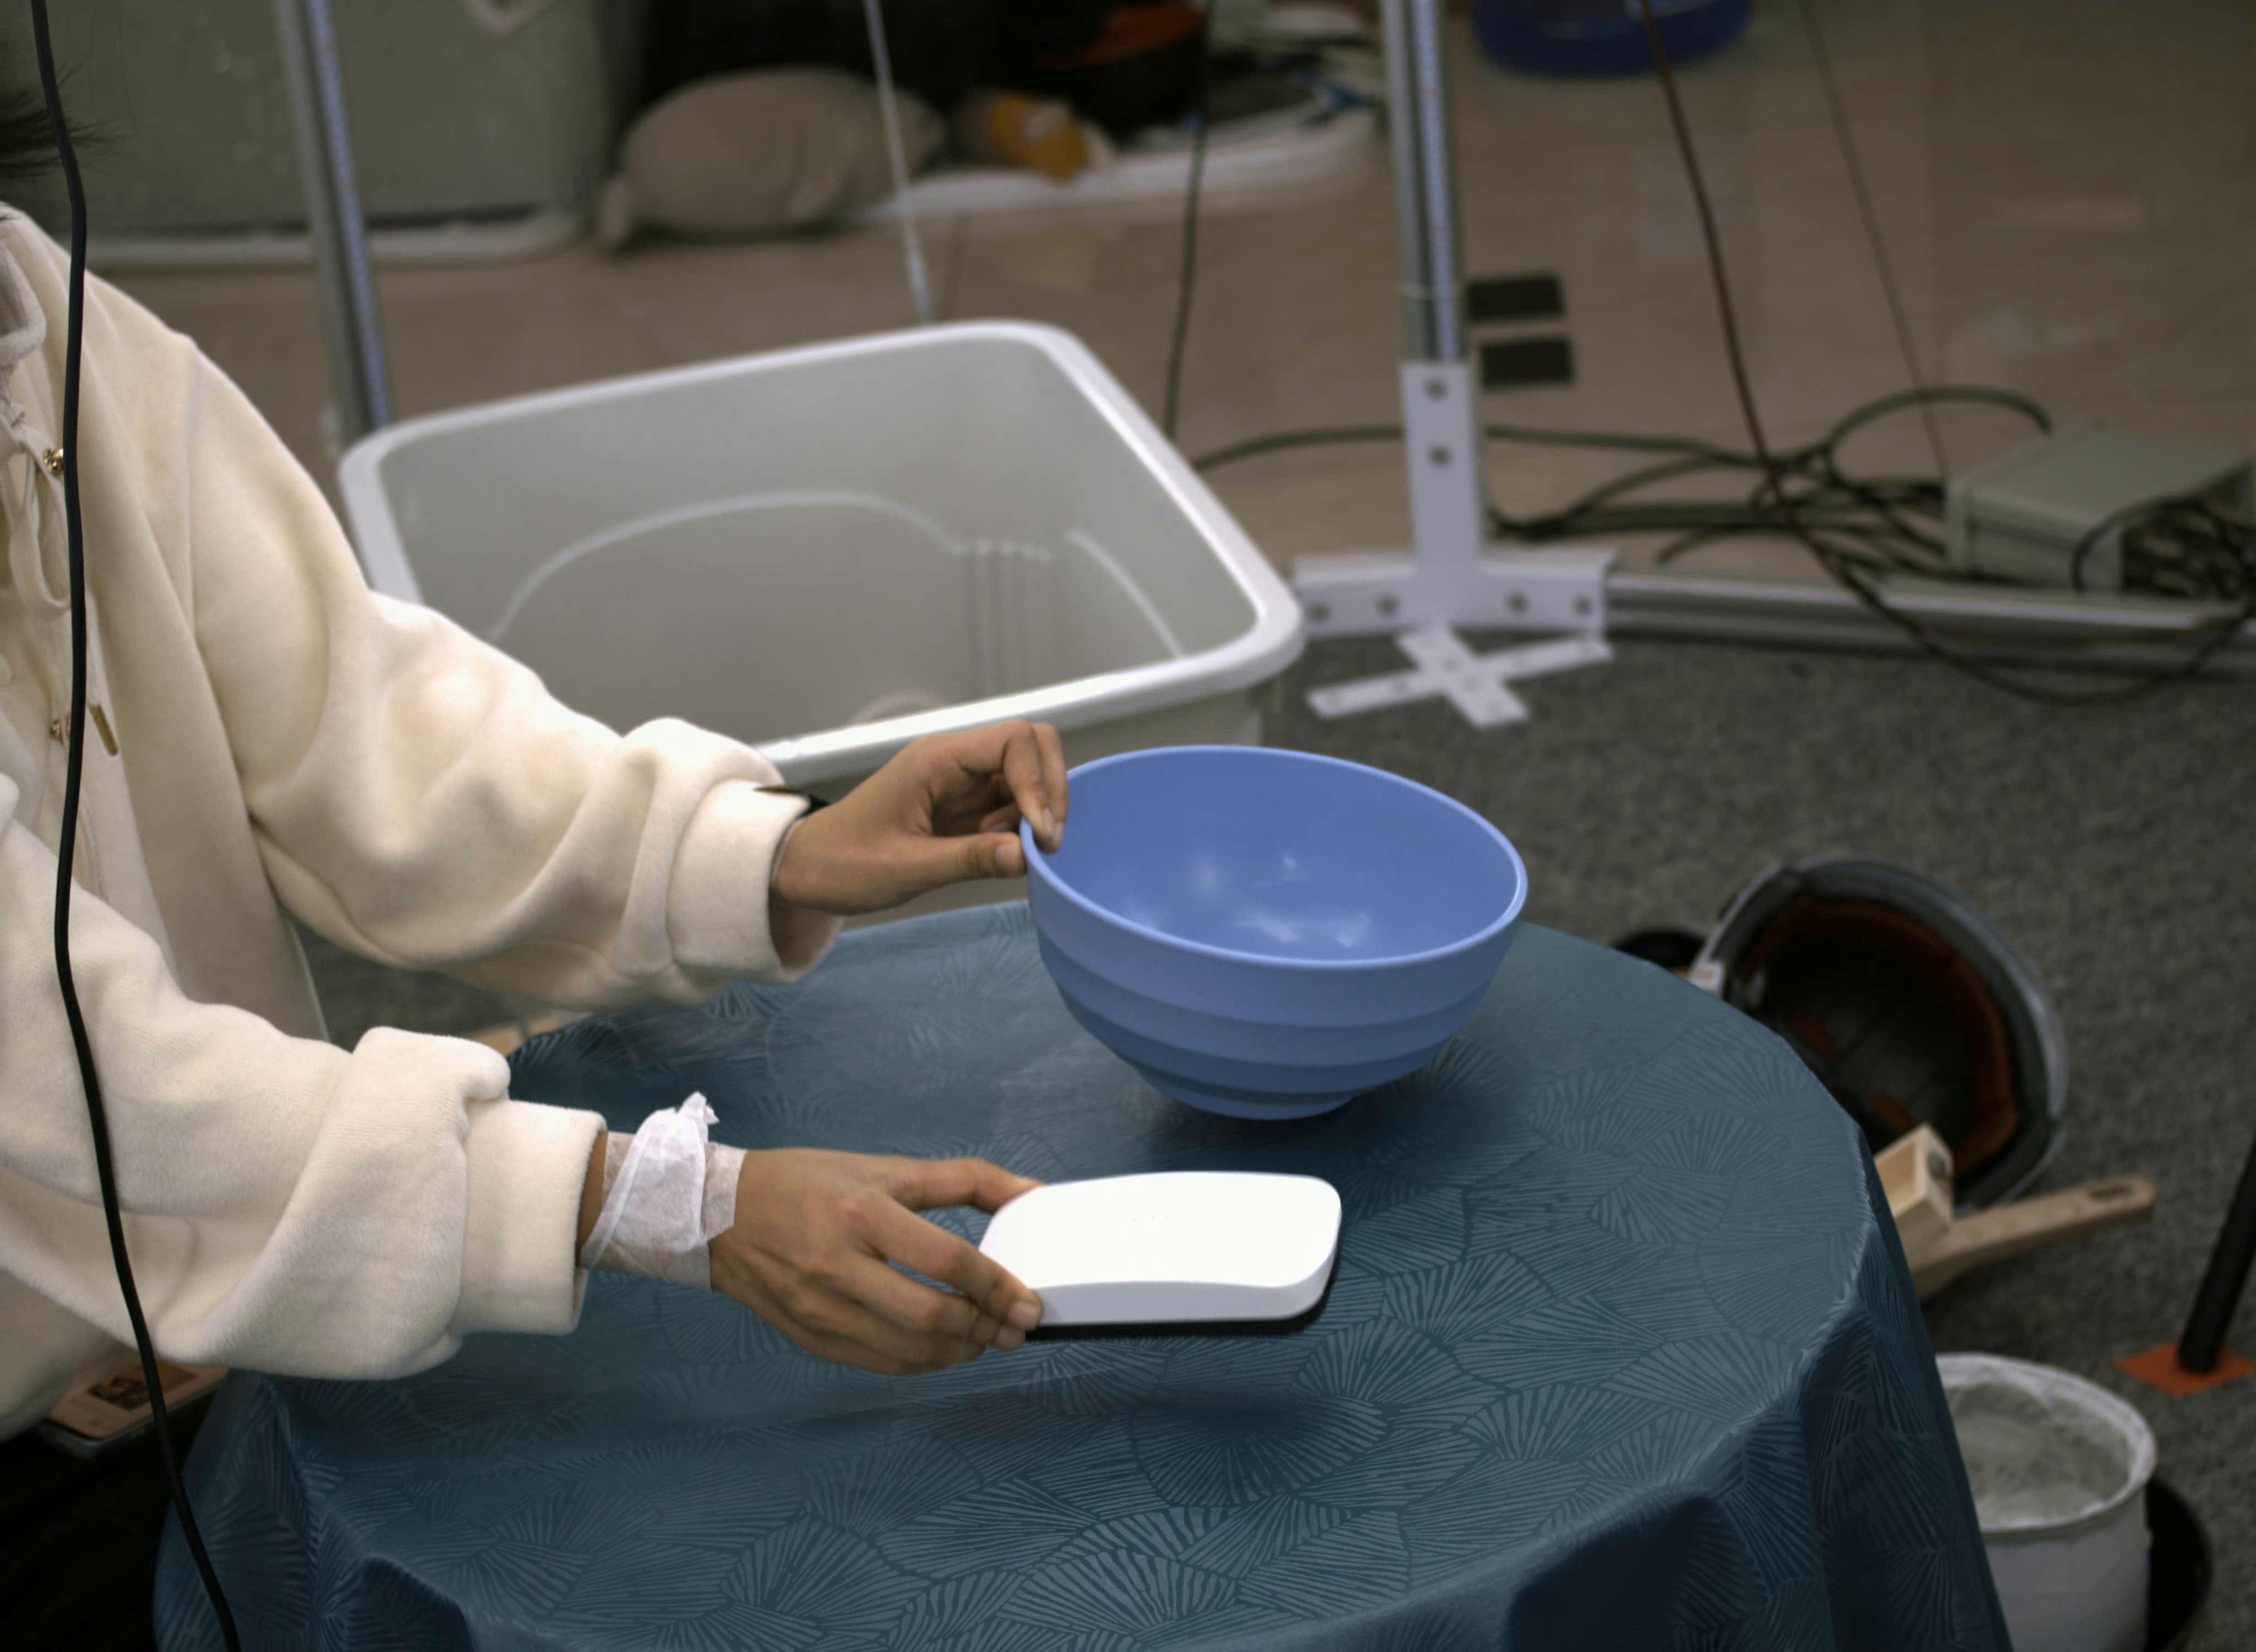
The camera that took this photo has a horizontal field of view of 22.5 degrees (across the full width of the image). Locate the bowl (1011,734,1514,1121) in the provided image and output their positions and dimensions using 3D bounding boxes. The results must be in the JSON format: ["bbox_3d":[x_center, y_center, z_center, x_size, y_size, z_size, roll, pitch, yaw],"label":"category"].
[{"bbox_3d":[0.044,0.050,2.190,0.196,0.097,0.193,9,28,-5],"label":"bowl"}]

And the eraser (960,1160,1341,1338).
[{"bbox_3d":[0.009,0.148,1.981,0.131,0.035,0.062,-3,33,21],"label":"eraser"}]
